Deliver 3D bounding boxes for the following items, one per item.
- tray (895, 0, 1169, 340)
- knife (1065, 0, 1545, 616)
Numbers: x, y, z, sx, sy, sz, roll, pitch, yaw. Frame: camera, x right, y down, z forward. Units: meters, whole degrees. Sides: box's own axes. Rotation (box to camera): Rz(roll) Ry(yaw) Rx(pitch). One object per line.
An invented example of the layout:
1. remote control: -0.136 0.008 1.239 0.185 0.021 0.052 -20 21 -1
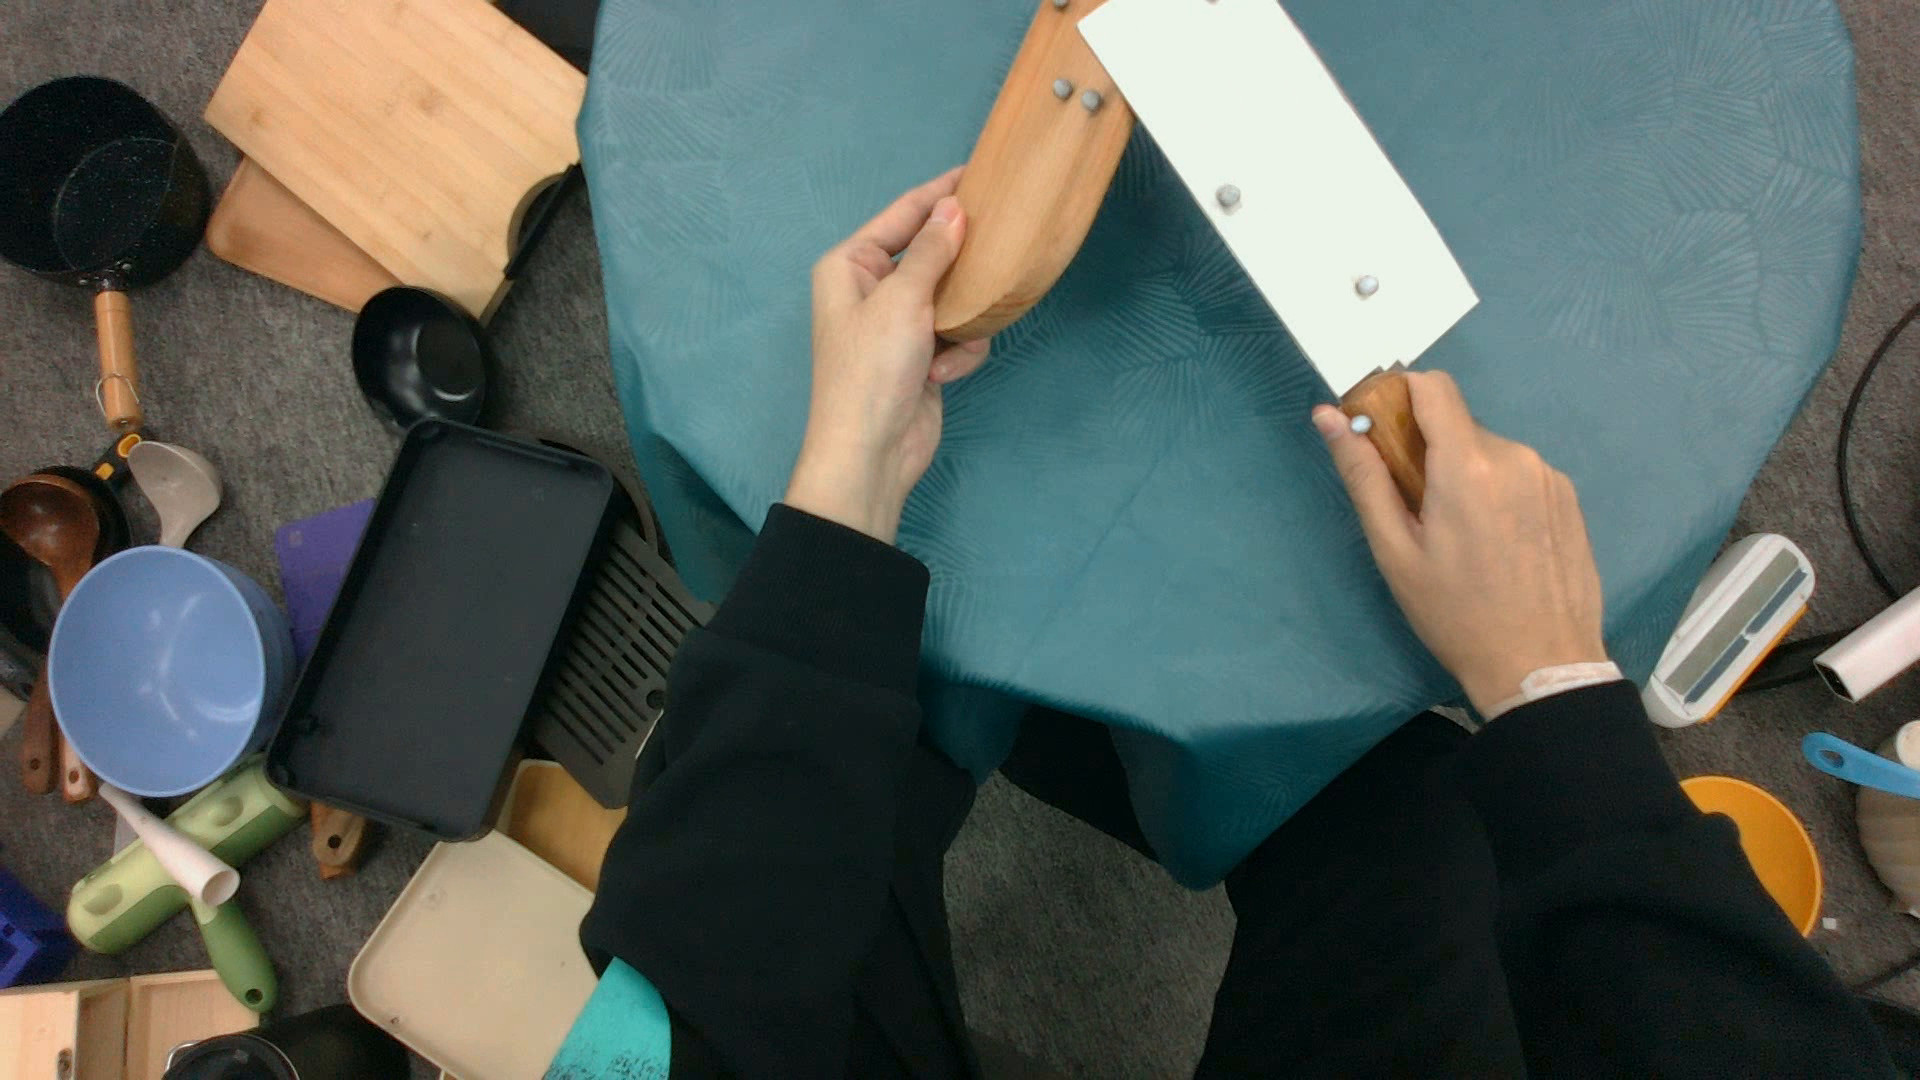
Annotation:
1. tray: 0.037 -0.183 0.583 0.020 0.101 0.232 32 72 -30
2. knife: 0.160 -0.109 0.568 0.093 0.021 0.305 -41 99 -23
